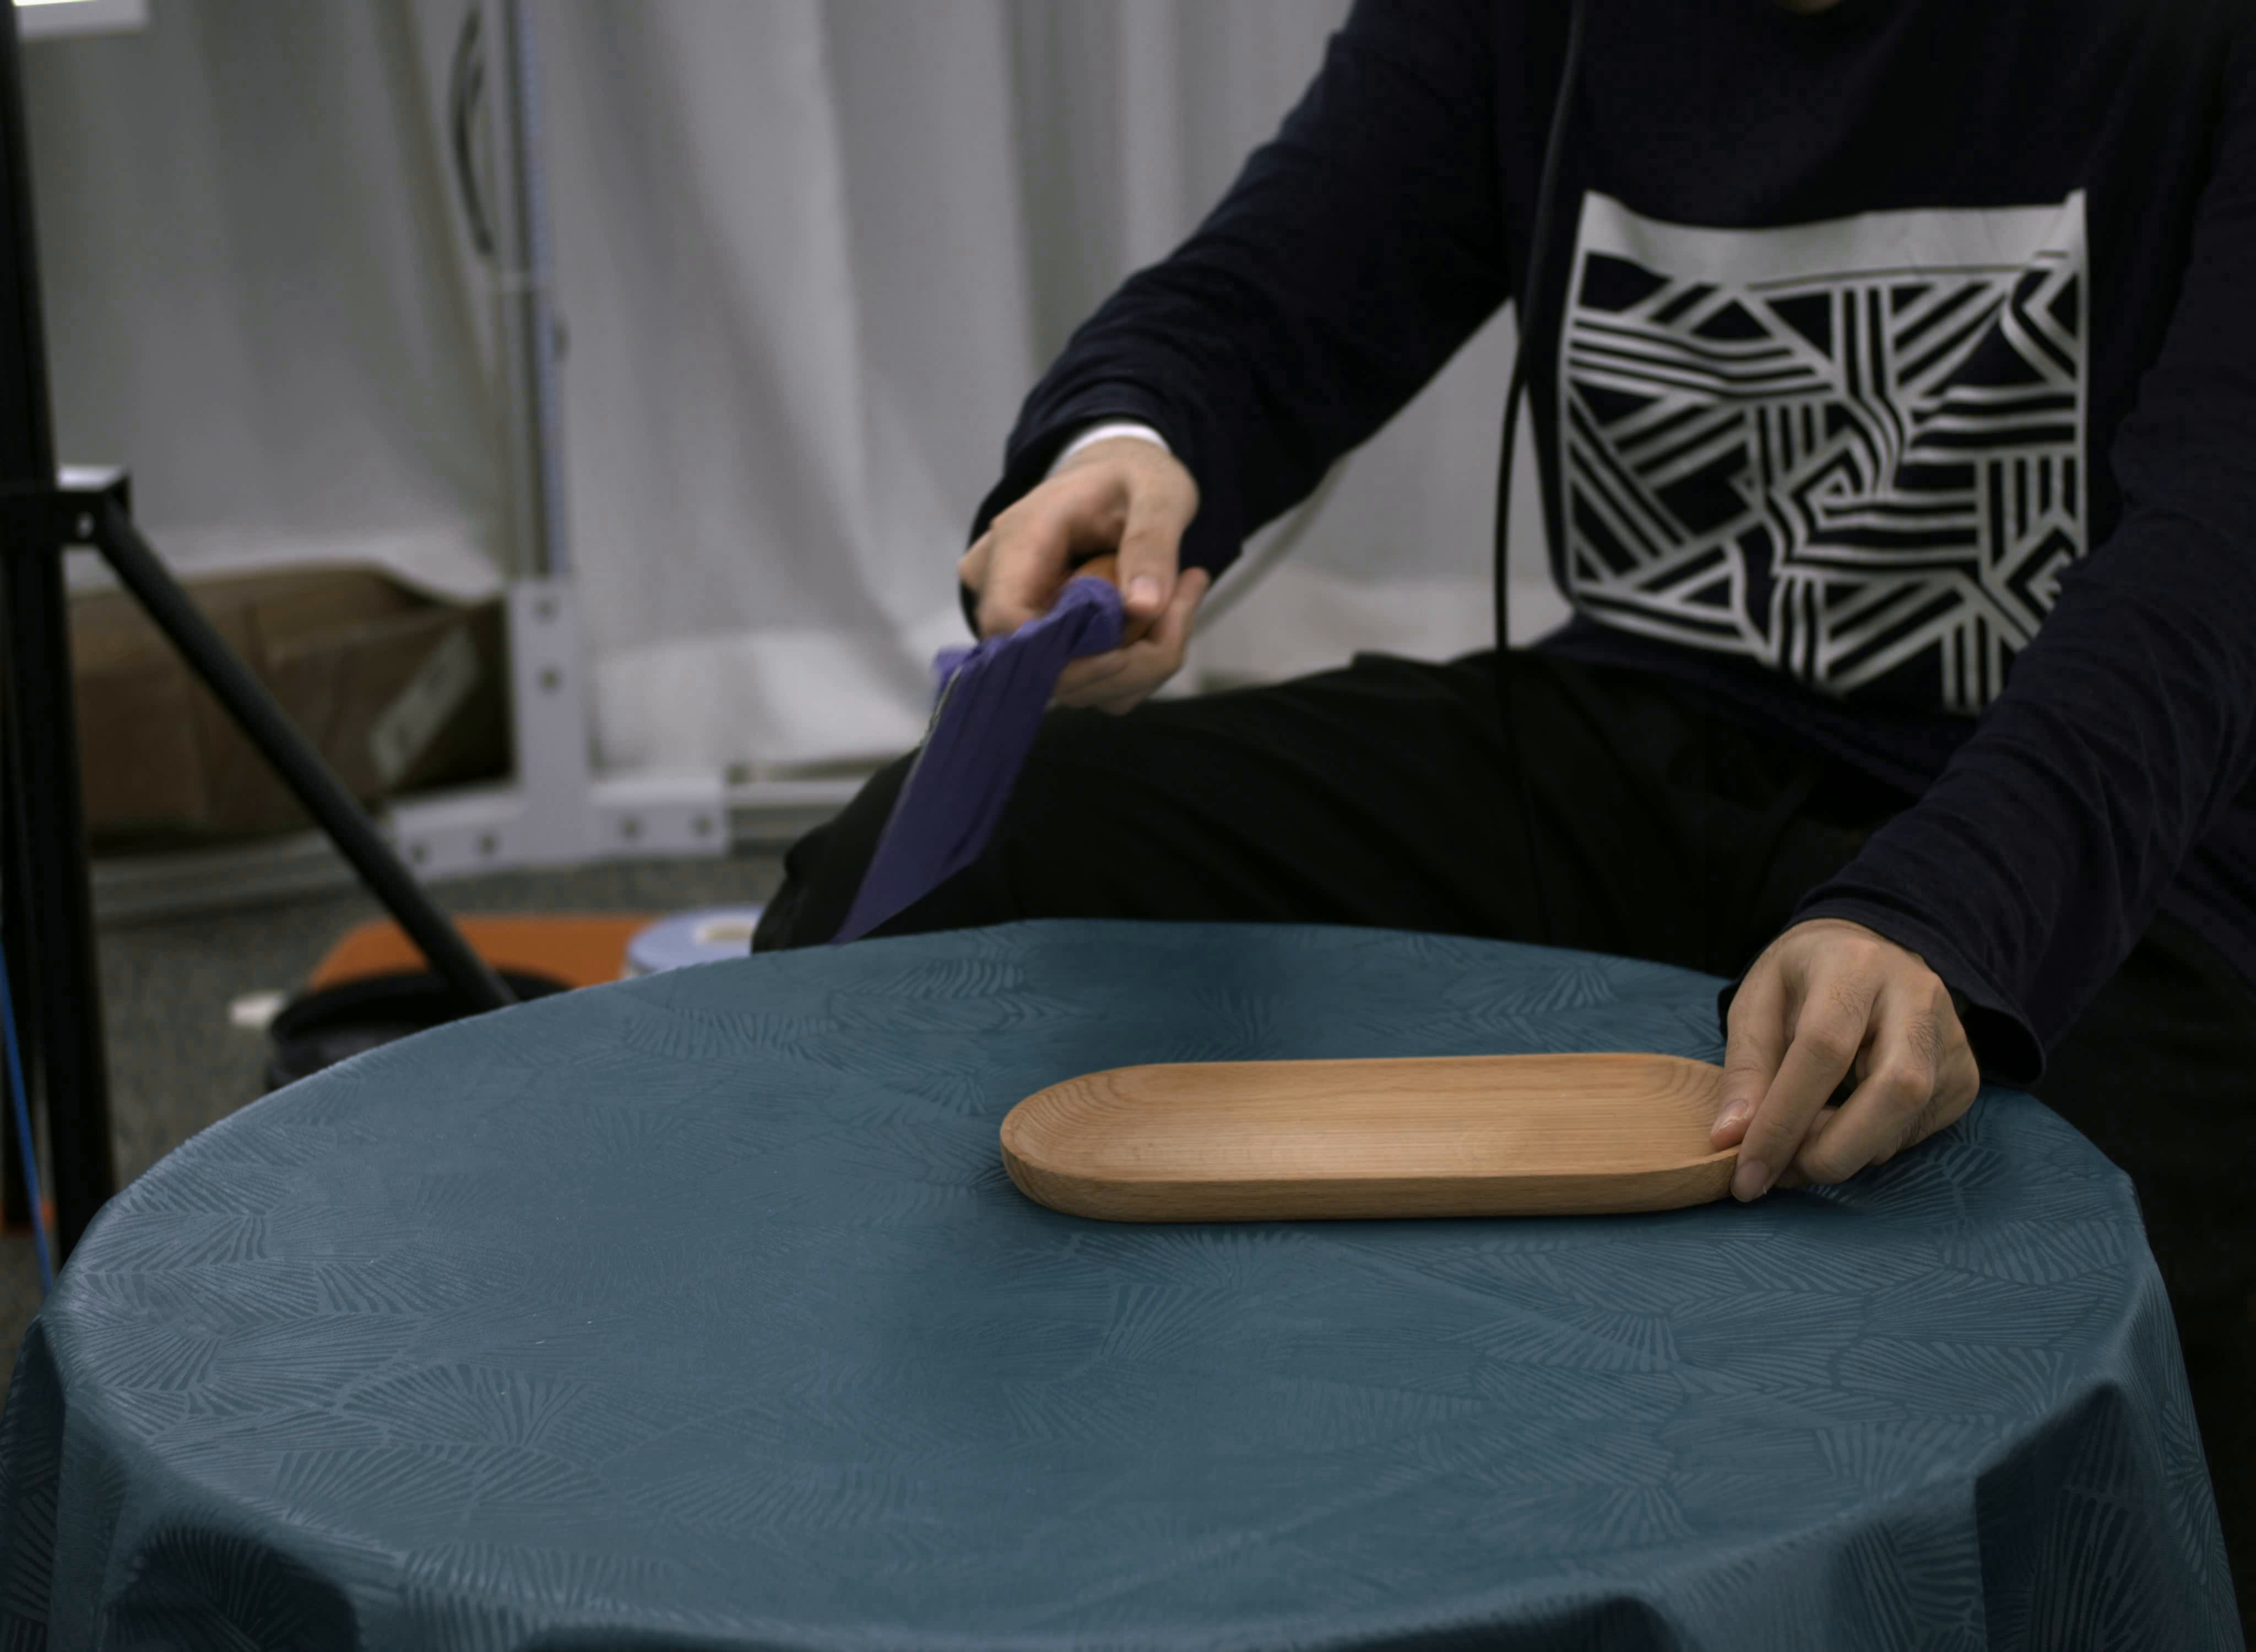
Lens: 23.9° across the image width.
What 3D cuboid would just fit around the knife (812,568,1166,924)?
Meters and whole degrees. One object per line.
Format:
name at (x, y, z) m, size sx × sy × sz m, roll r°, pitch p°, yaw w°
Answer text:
knife at (-0.045, -0.027, 1.638) m, size 0.032 × 0.104 × 0.312 m, roll 28°, pitch 12°, yaw 8°

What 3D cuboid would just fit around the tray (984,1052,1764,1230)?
tray at (0.073, 0.094, 1.569) m, size 0.231 × 0.020 × 0.102 m, roll -3°, pitch 16°, yaw 5°
